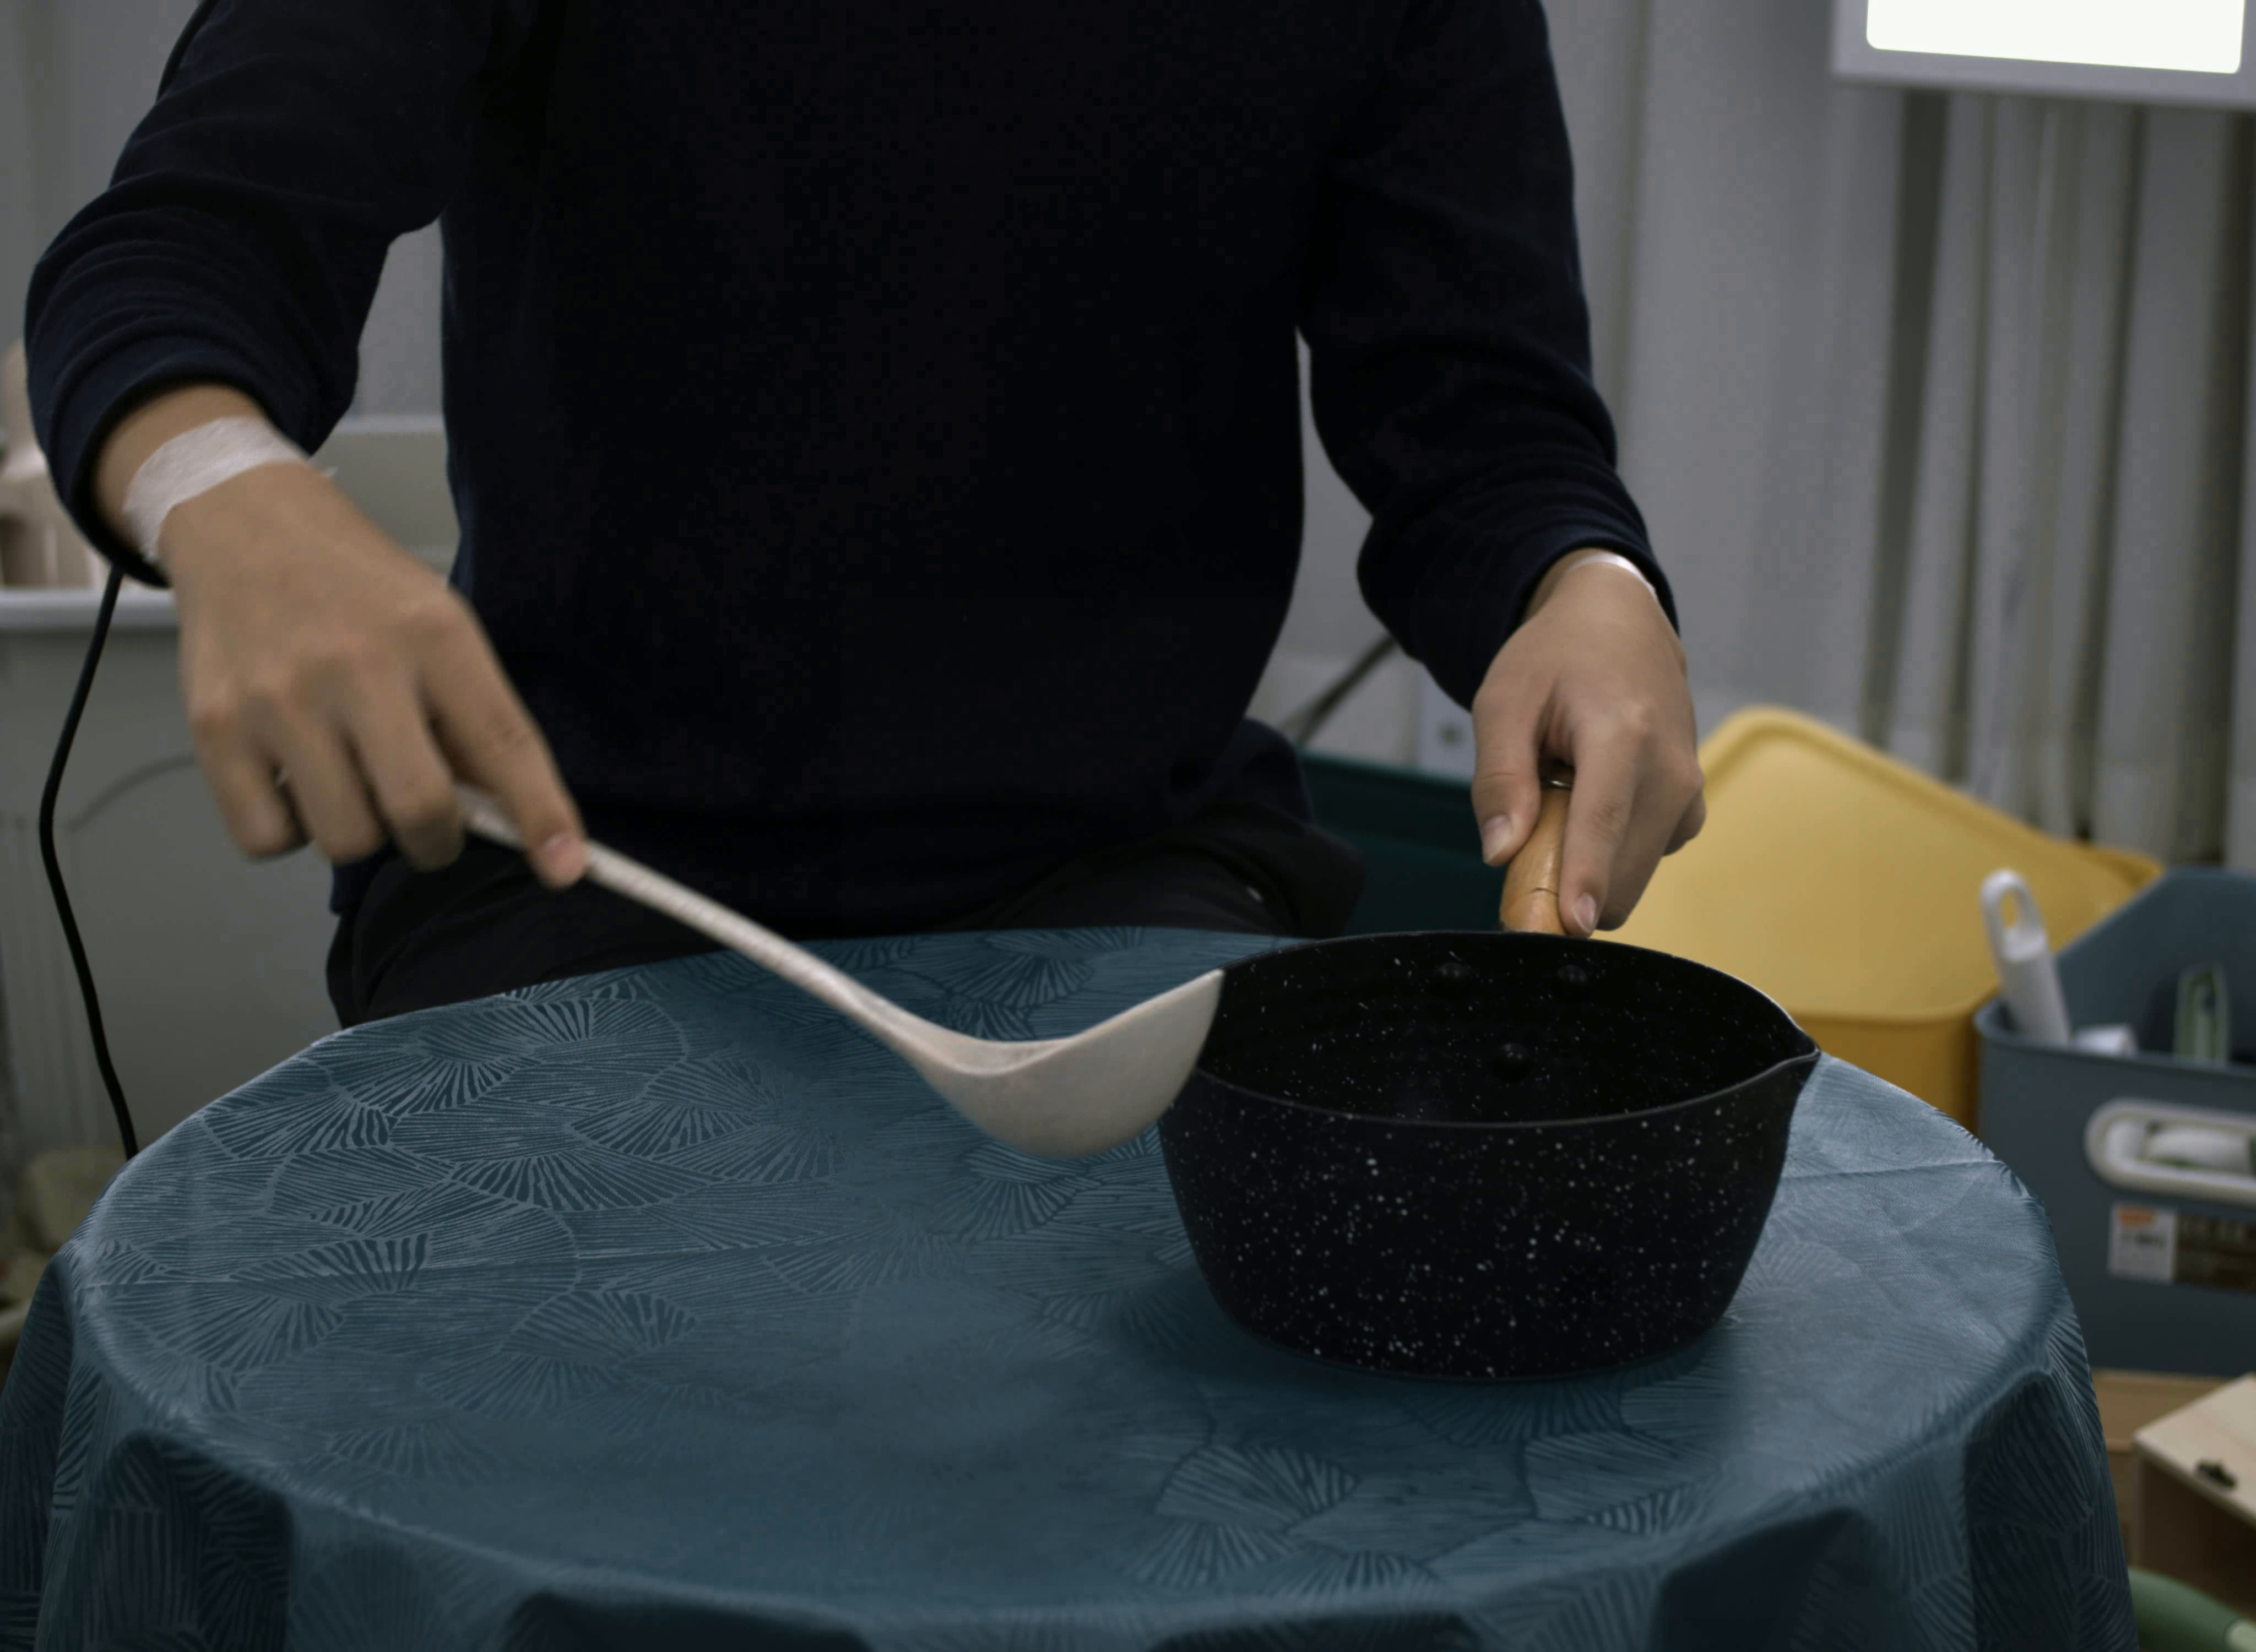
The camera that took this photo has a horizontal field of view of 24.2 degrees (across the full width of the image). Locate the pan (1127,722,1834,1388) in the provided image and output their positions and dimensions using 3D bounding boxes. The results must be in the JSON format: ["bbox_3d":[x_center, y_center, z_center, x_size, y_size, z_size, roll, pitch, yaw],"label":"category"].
[{"bbox_3d":[0.113,0.064,1.598,0.206,0.109,0.342,2,17,10],"label":"pan"}]

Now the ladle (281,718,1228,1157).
[{"bbox_3d":[-0.104,0.007,1.434,0.273,0.069,0.089,28,14,11],"label":"ladle"}]
